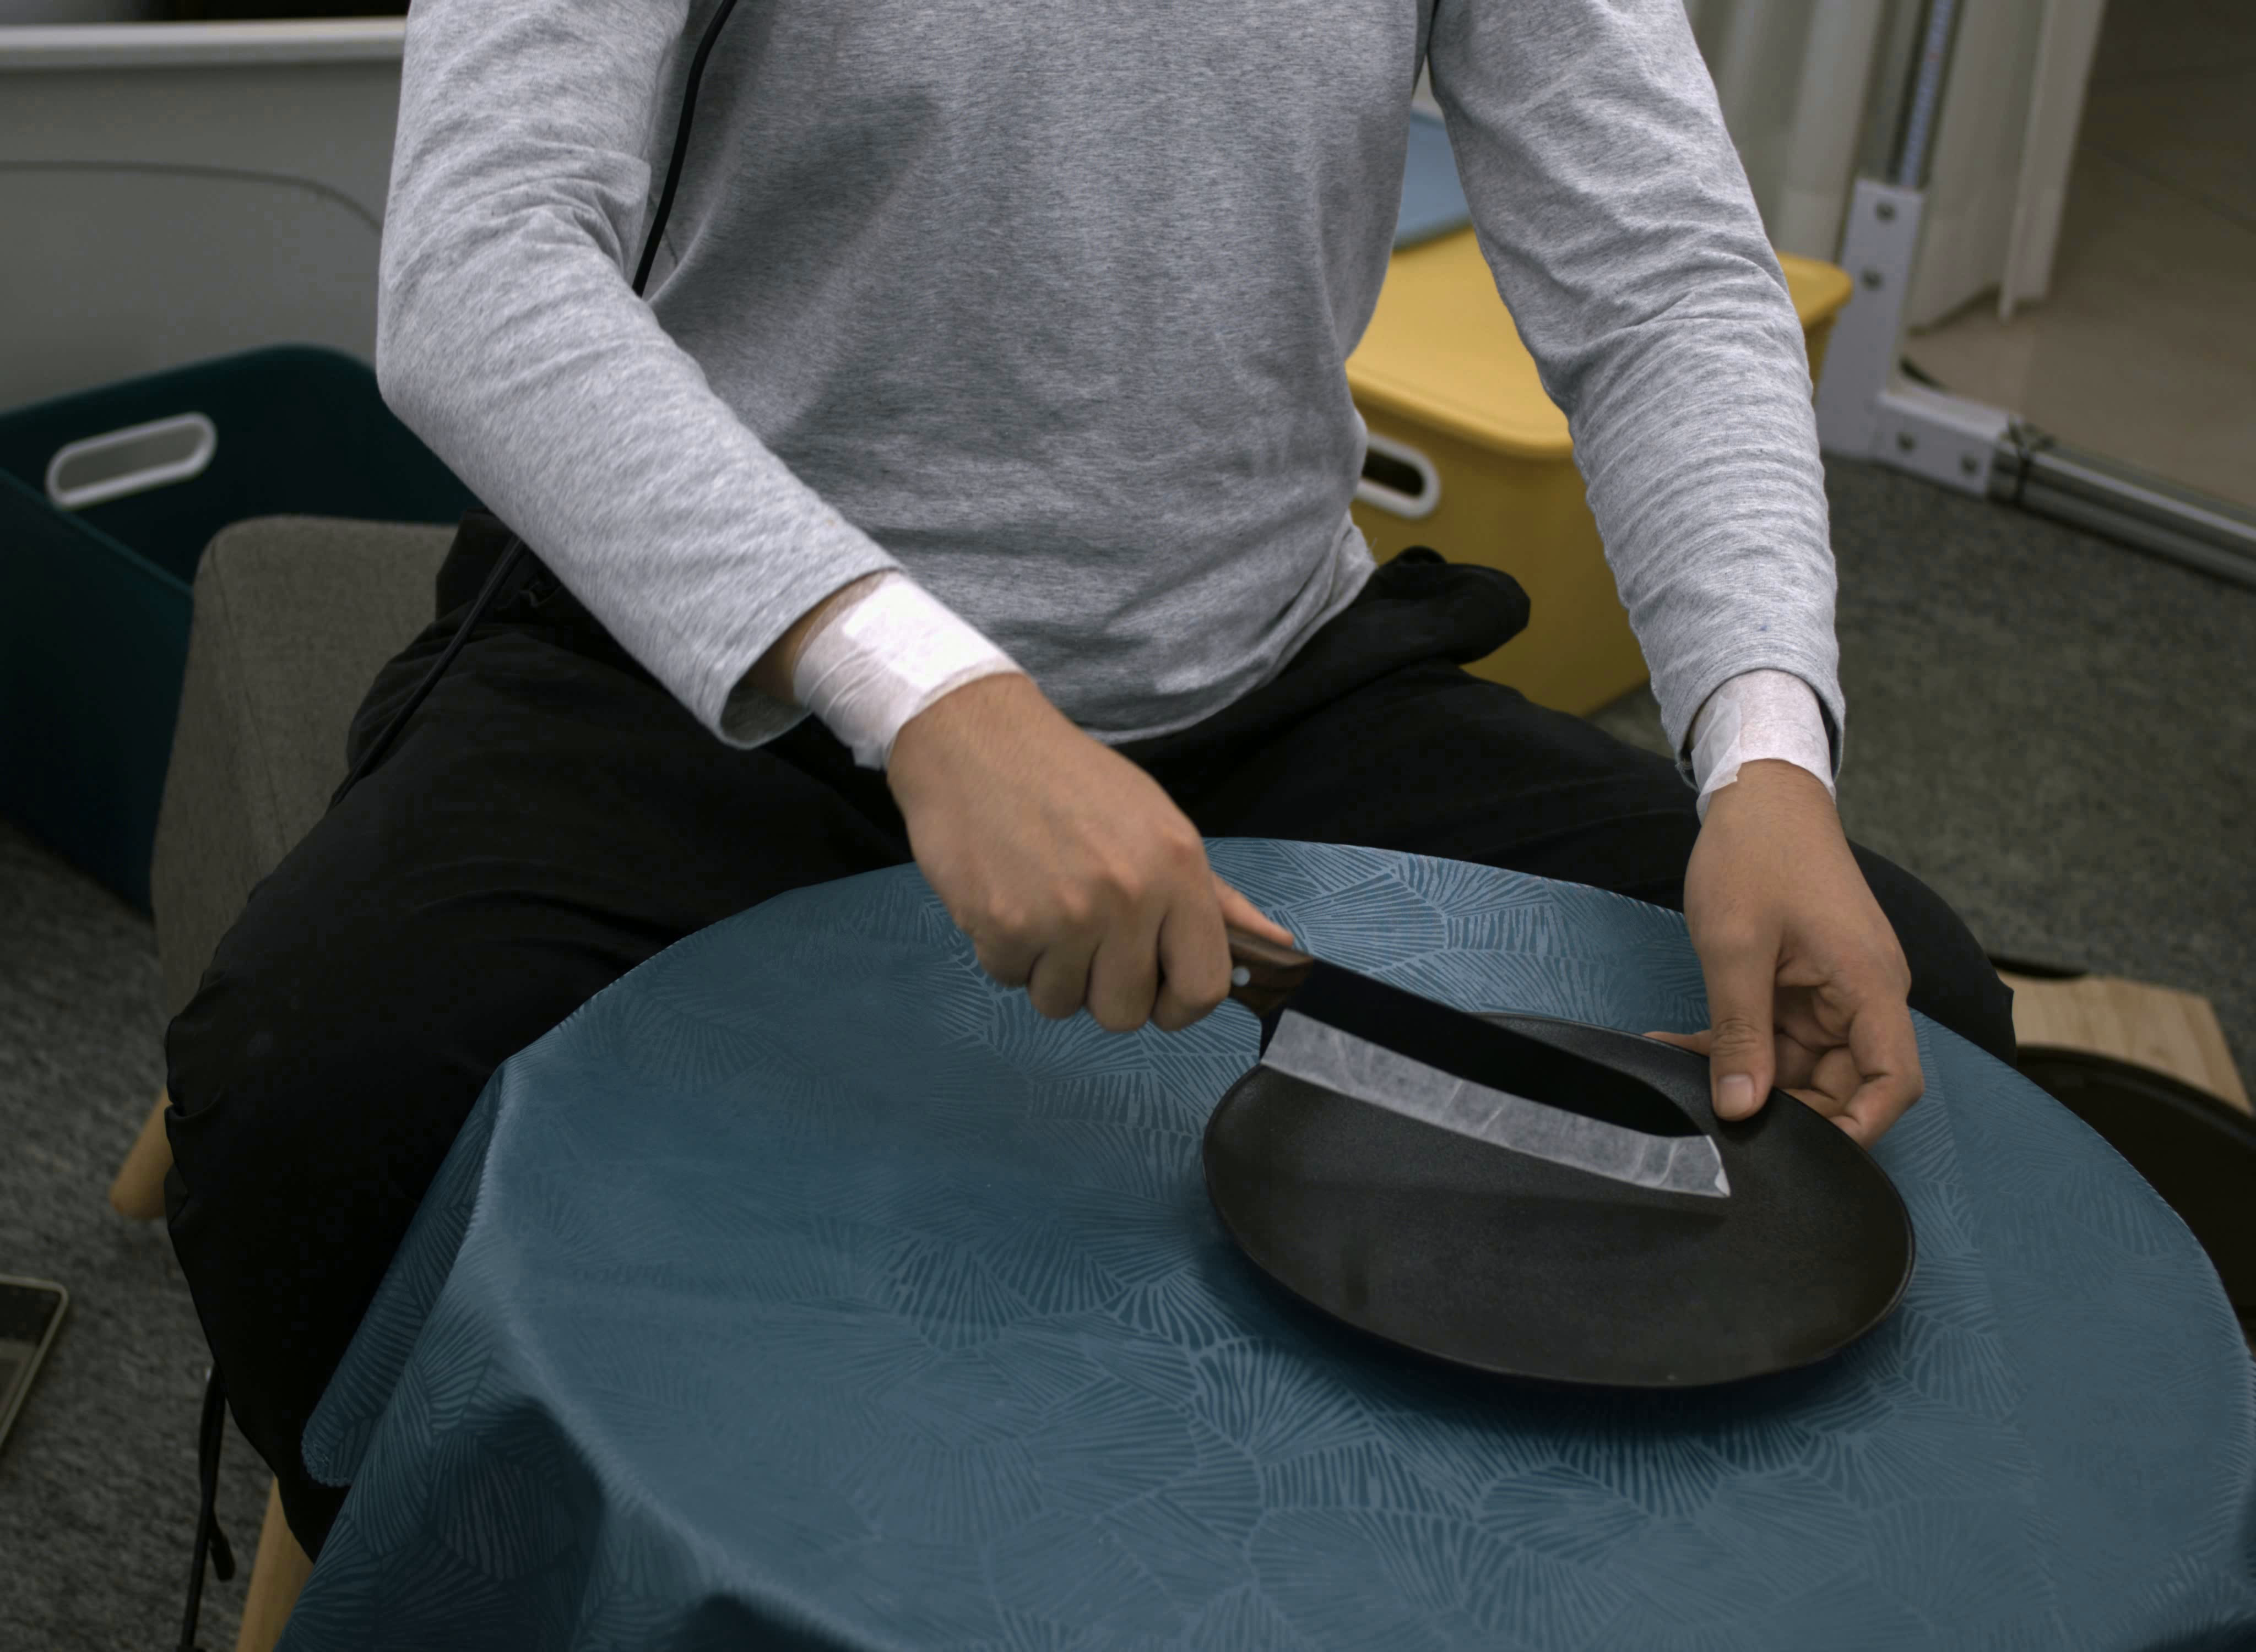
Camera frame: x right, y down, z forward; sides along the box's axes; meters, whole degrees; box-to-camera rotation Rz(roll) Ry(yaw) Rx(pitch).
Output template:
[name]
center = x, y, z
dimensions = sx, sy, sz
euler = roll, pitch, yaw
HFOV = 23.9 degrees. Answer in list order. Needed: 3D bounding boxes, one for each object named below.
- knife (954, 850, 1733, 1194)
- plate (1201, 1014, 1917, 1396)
[knife]
center = 0.073, 0.068, 1.809
dimensions = 0.288, 0.050, 0.020
euler = 22, 24, -2
[plate]
center = 0.144, 0.131, 1.797
dimensions = 0.243, 0.023, 0.246
euler = 5, 27, -3
